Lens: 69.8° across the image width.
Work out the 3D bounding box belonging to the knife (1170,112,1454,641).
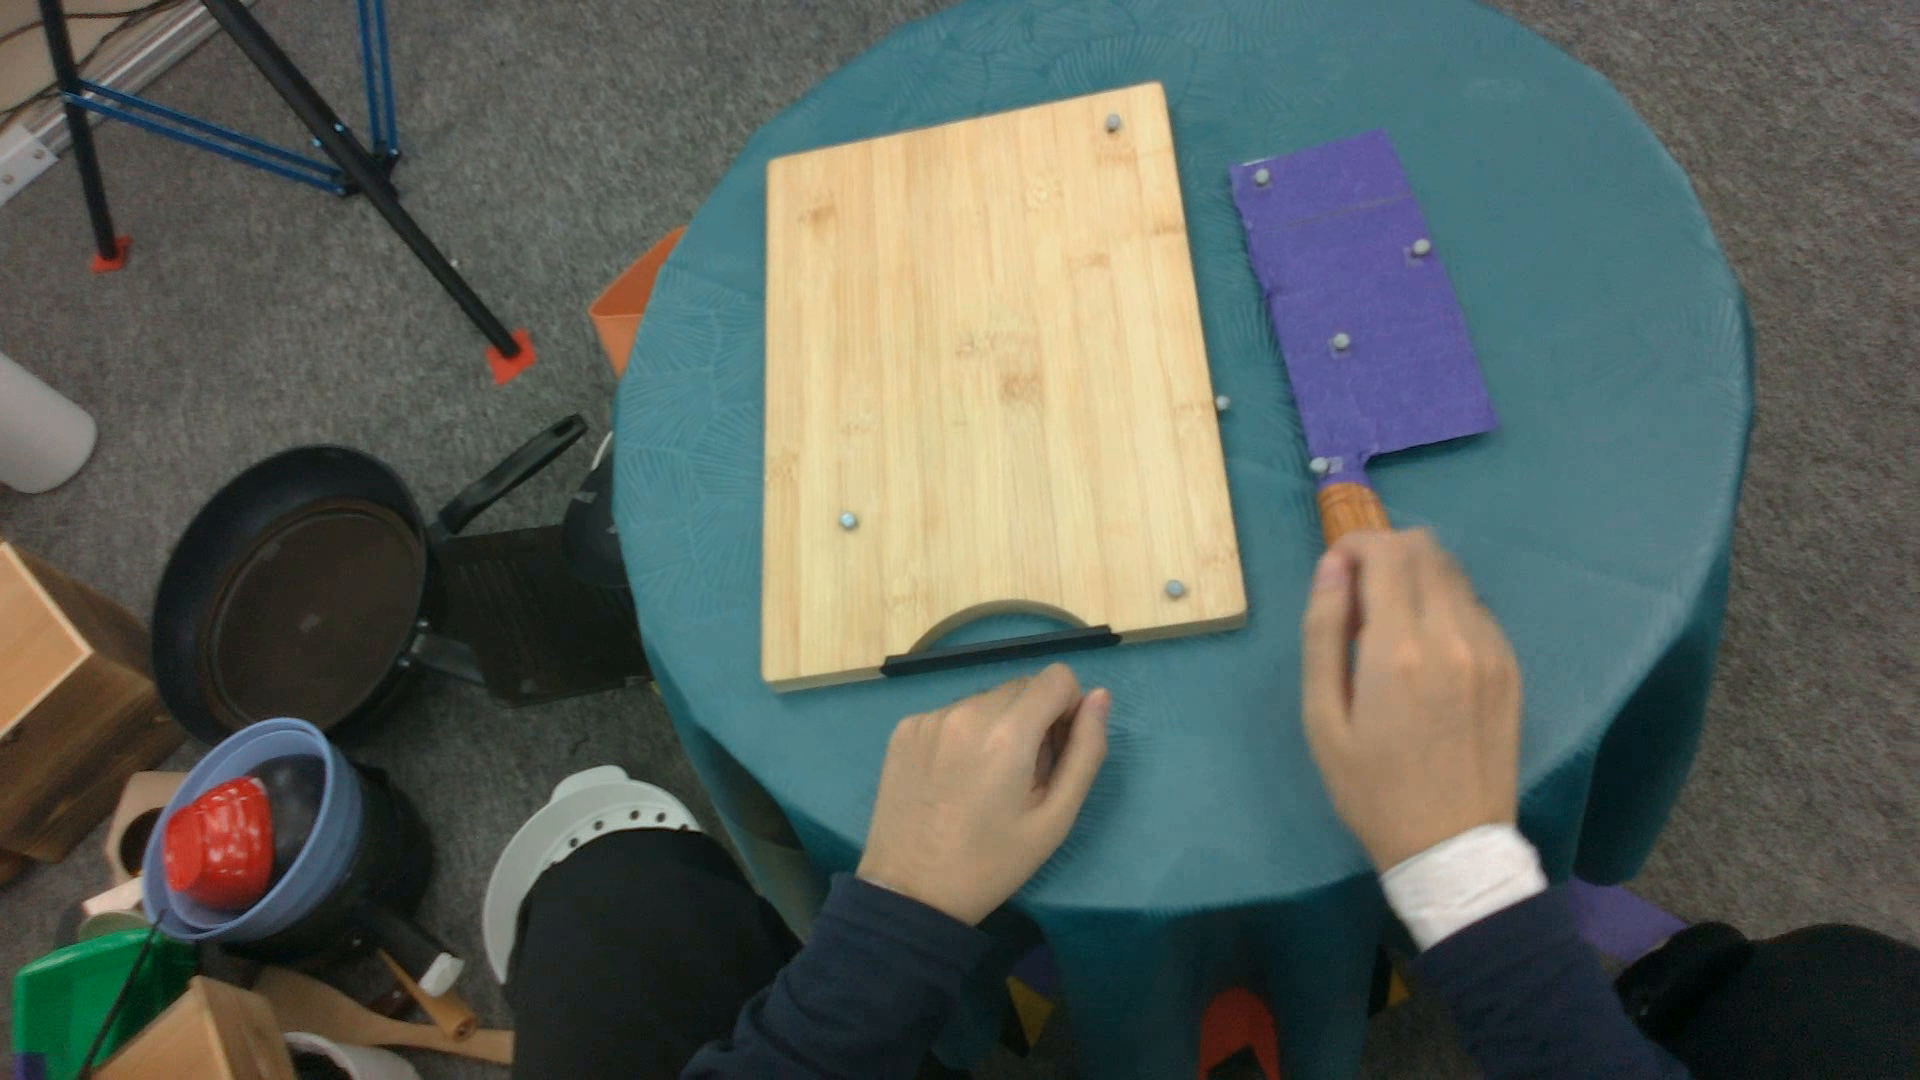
[{"bbox_3d":[0.193,-0.102,0.702,0.104,0.032,0.316,-13,62,5],"label":"knife"}]

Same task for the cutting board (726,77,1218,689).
[{"bbox_3d":[-0.008,-0.099,0.746,0.250,0.023,0.350,-9,63,7],"label":"cutting board"}]
